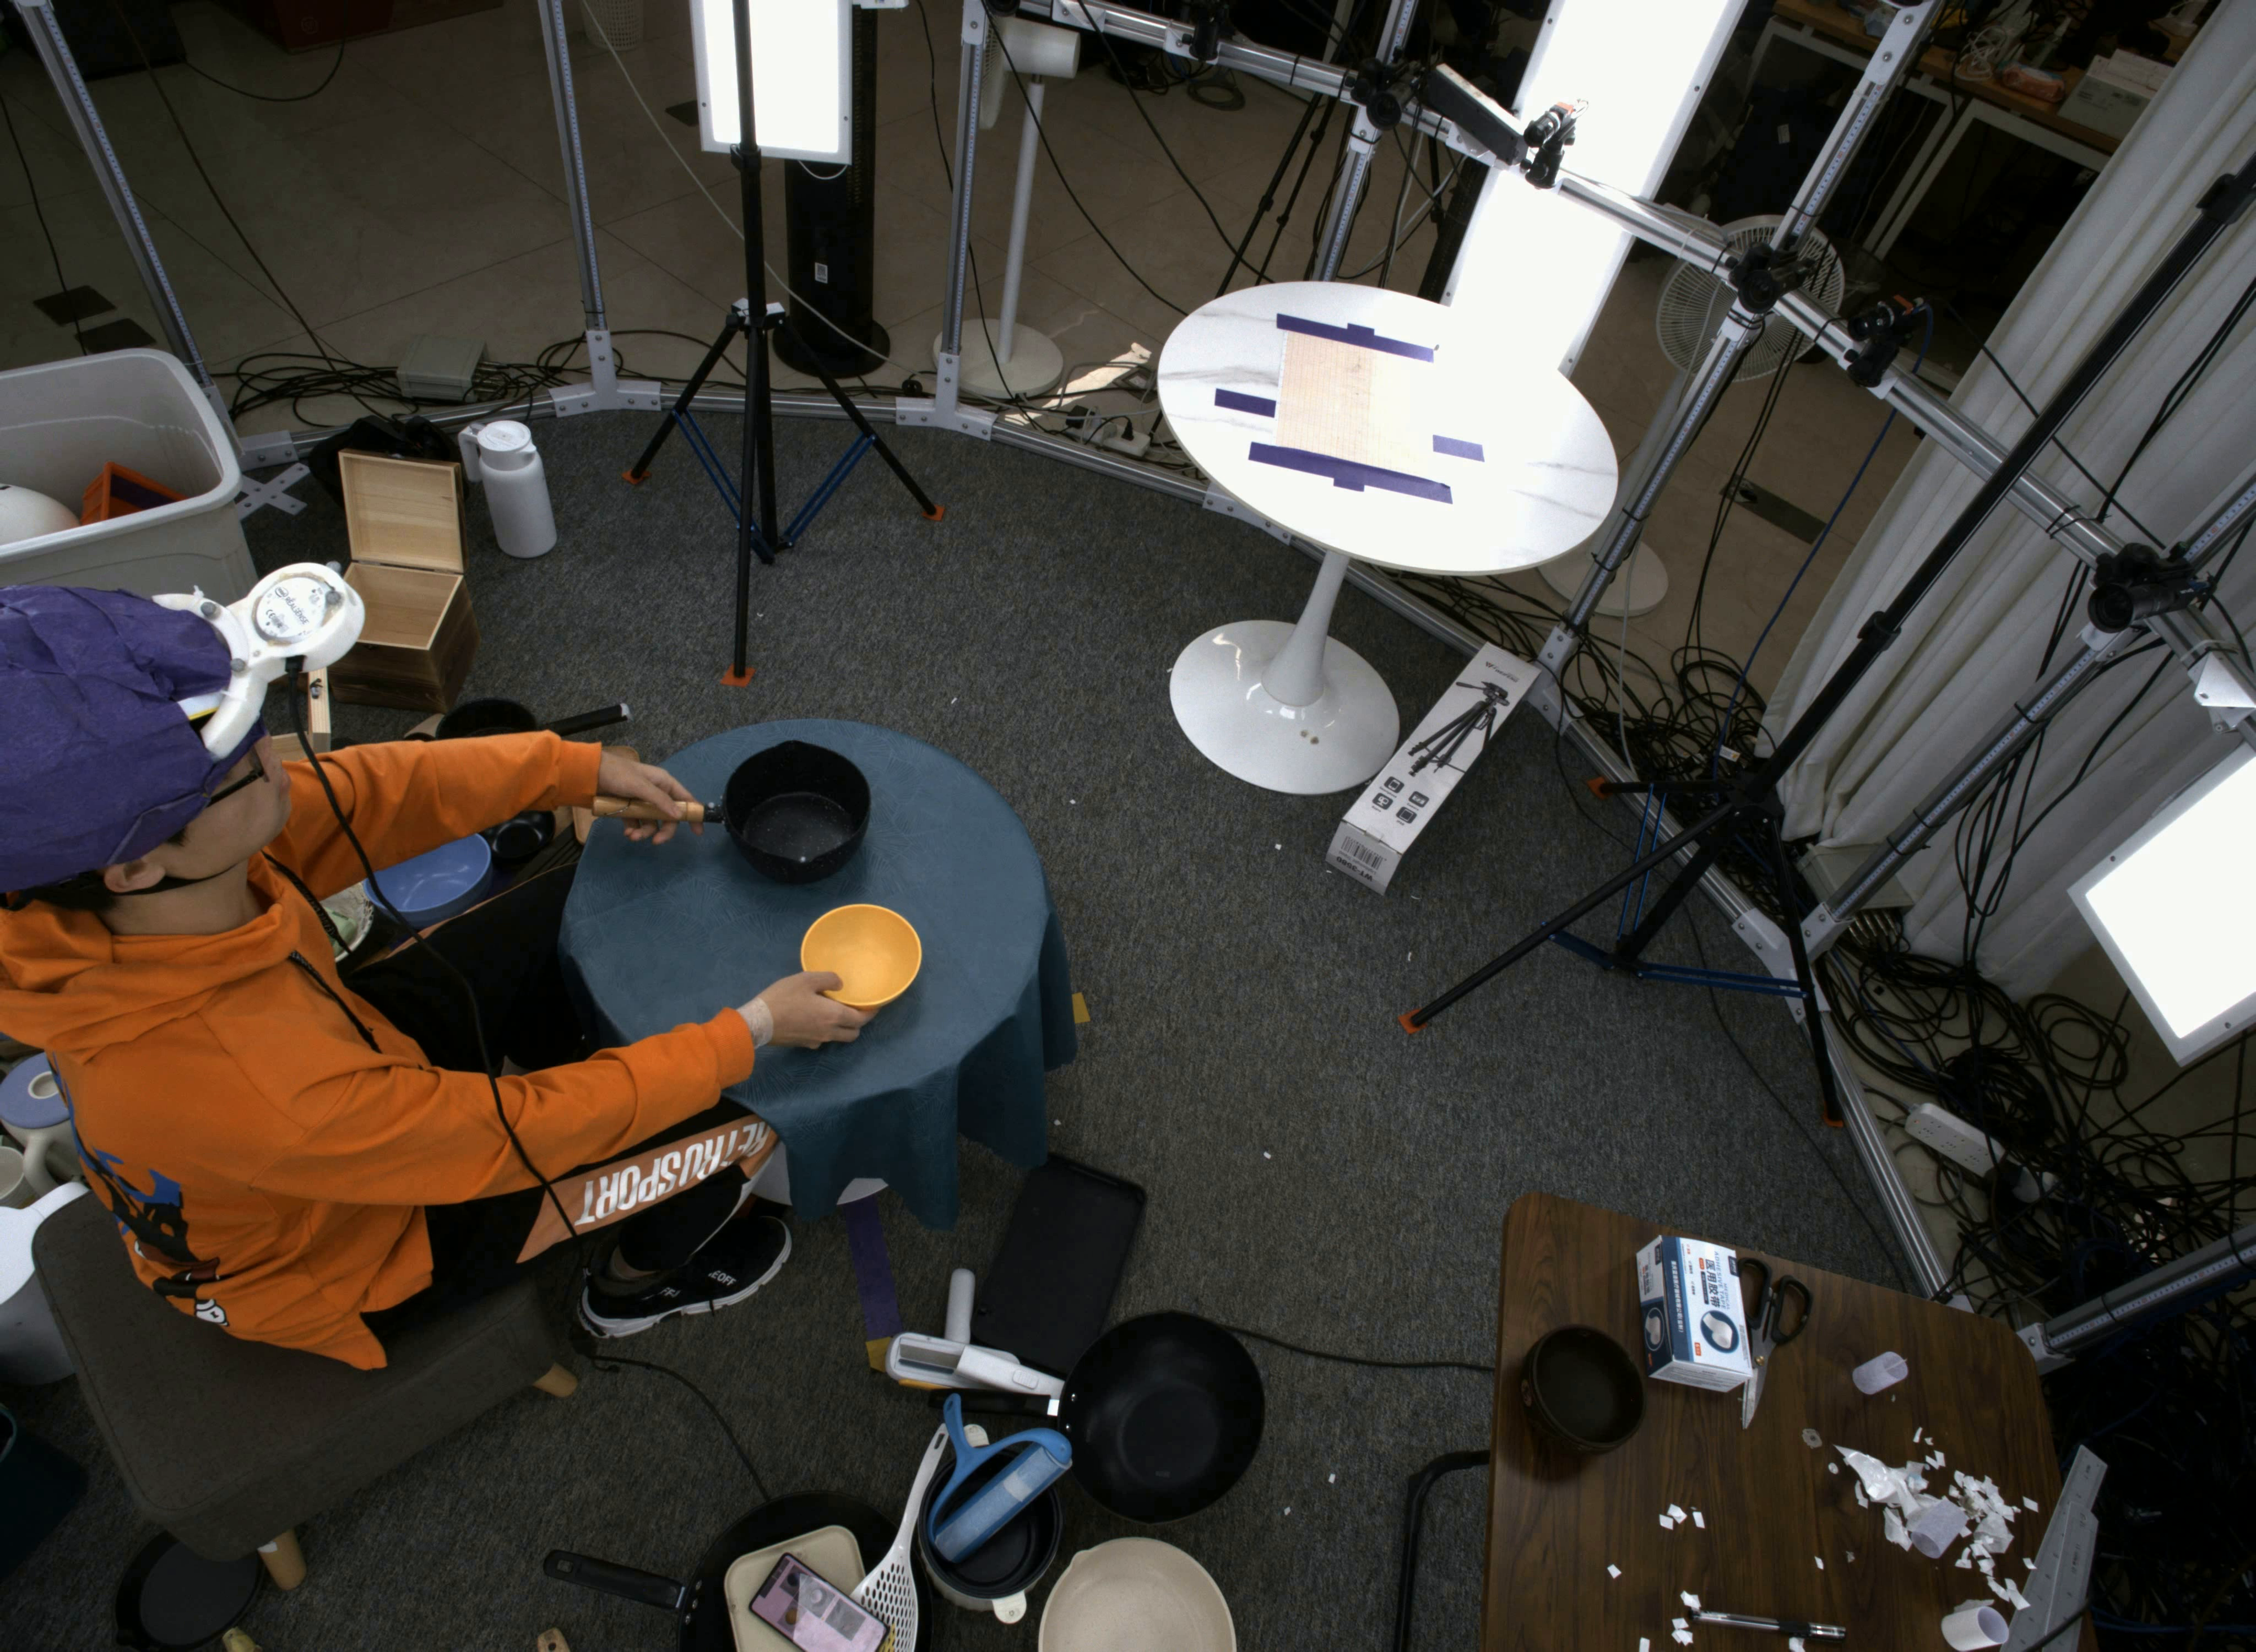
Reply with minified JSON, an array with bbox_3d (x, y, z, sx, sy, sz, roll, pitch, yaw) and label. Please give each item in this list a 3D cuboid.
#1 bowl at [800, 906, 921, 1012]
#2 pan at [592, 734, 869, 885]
[{"bbox_3d":[-0.324,0.170,1.575,0.145,0.061,0.142,8,51,-8],"label":"bowl"},{"bbox_3d":[-0.500,-0.012,1.632,0.344,0.110,0.203,-5,56,-20],"label":"pan"}]
